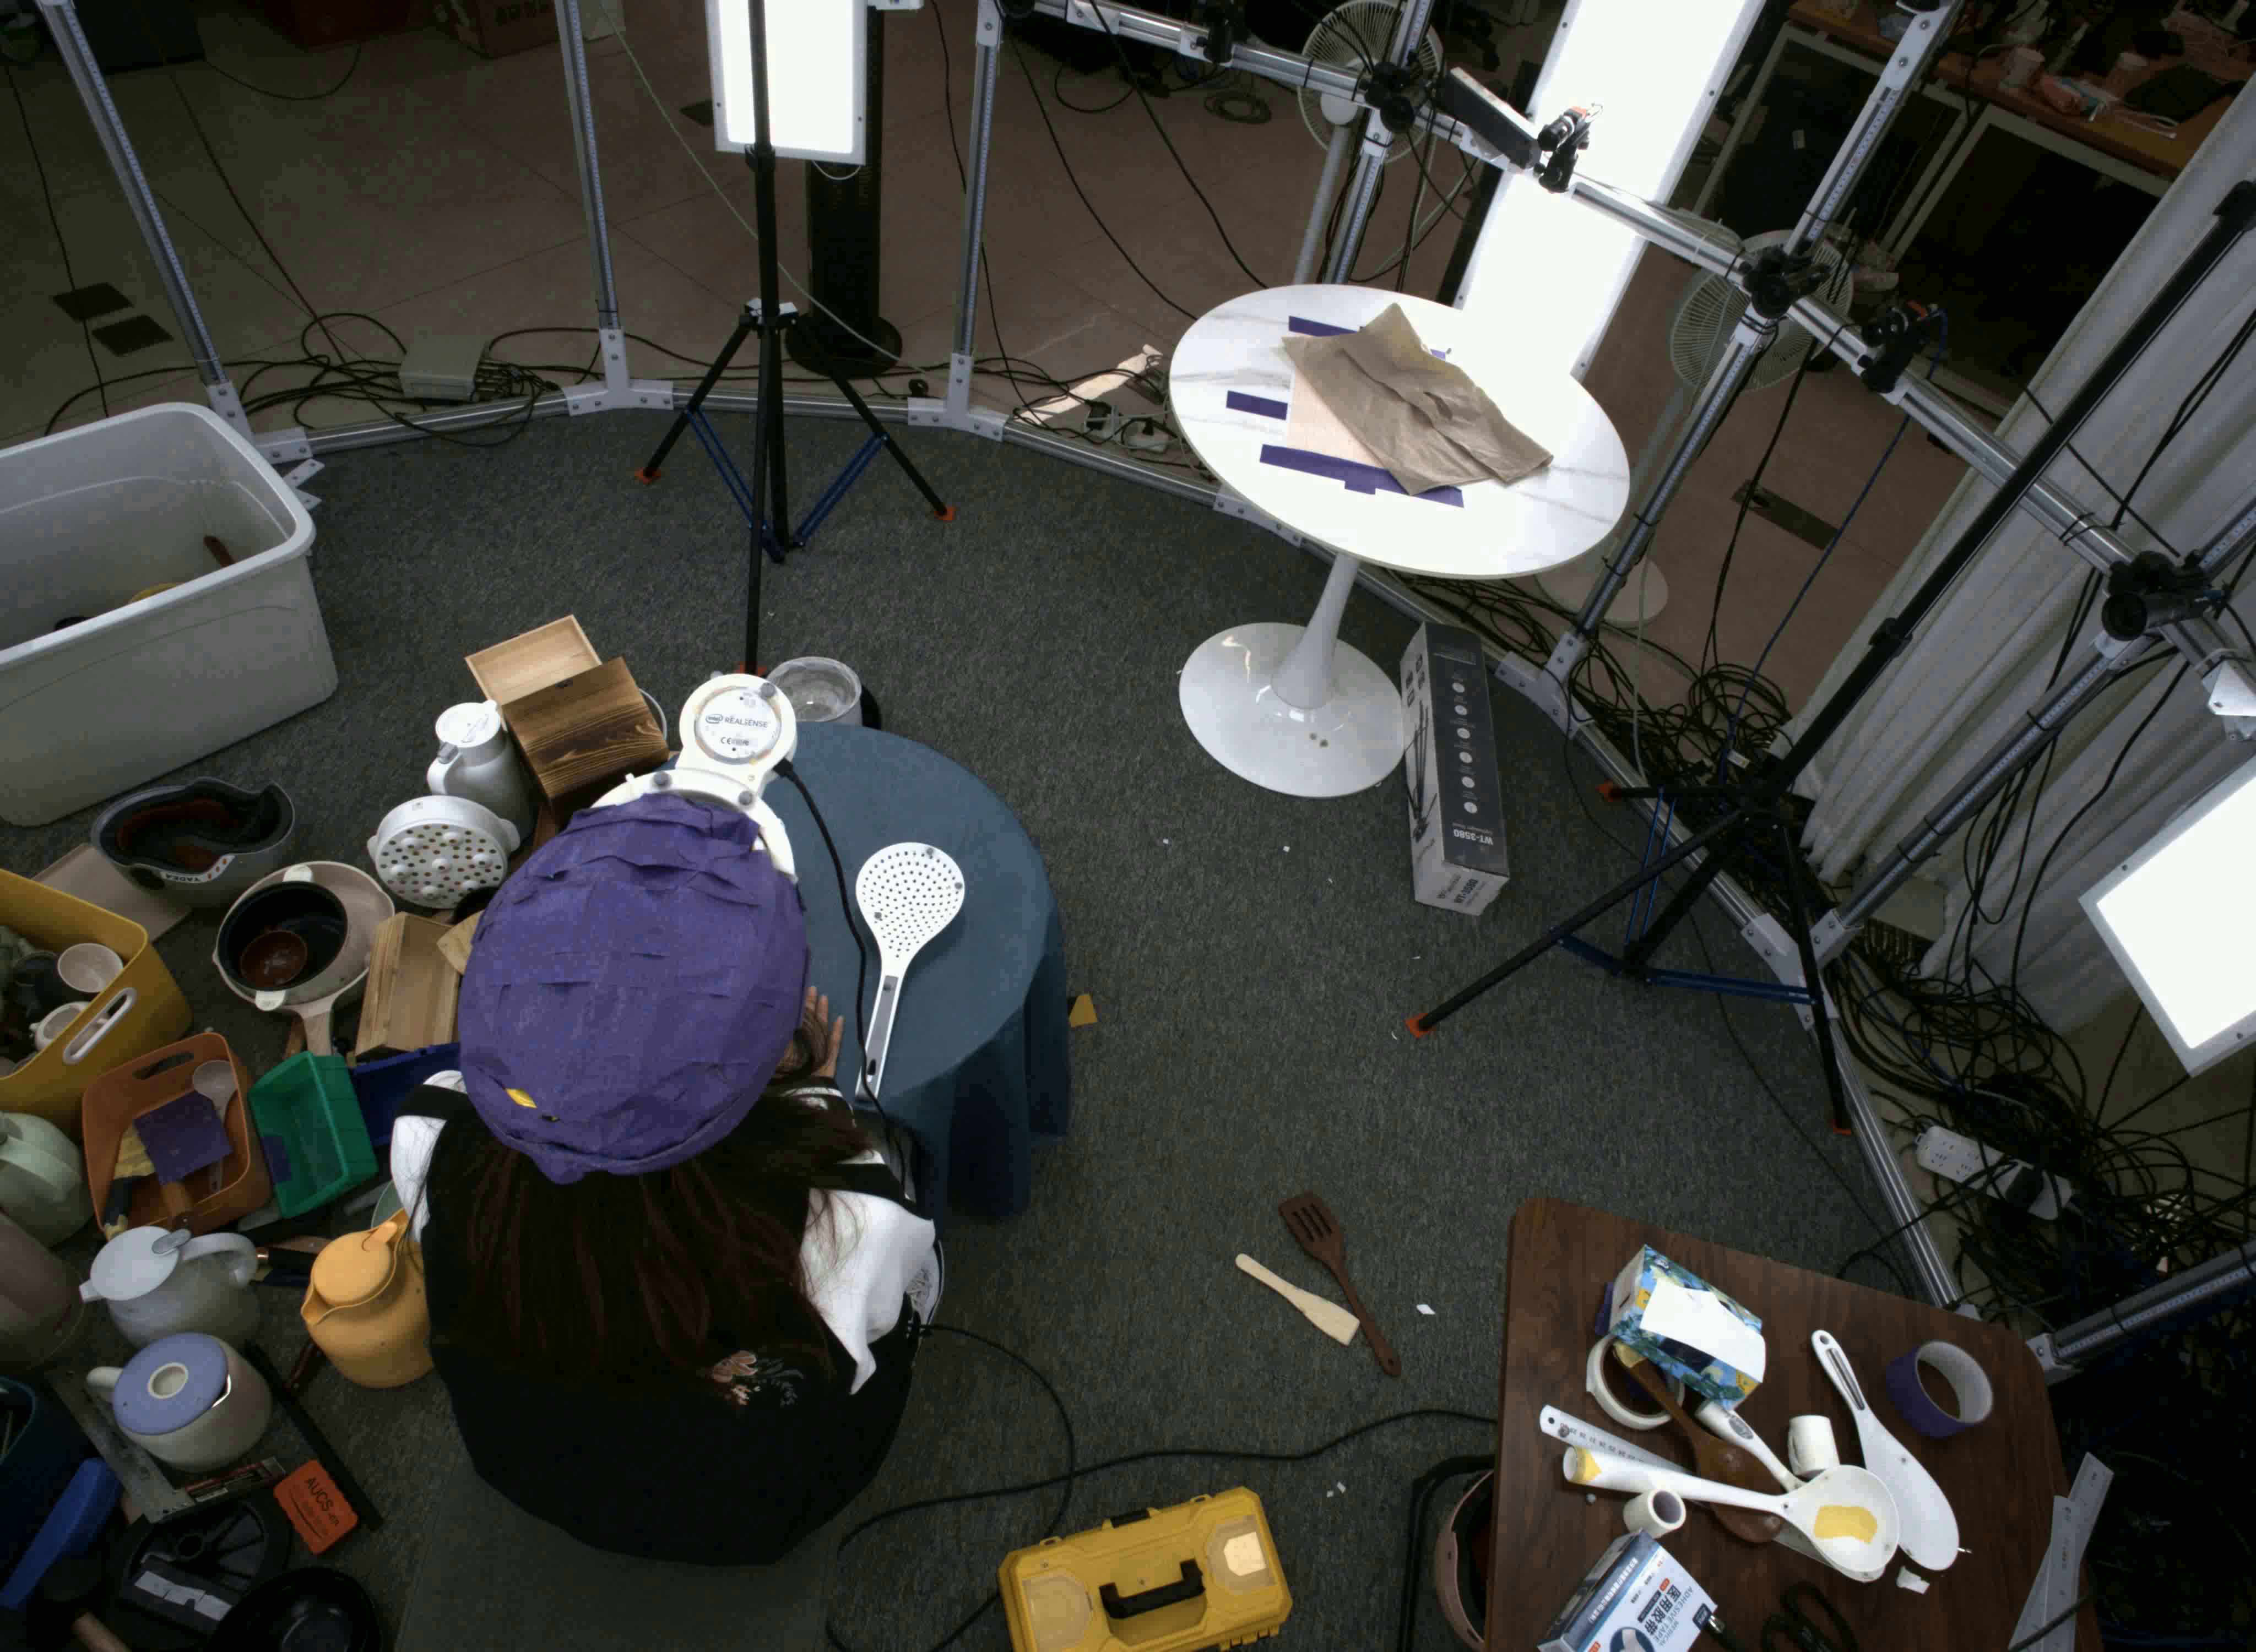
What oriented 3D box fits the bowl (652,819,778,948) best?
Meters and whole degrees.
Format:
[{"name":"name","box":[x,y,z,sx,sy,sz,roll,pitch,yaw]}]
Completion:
[{"name":"bowl","box":[-0.501,0.080,1.574,0.148,0.106,0.145,9,52,-10]}]

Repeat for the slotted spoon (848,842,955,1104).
[{"name":"slotted spoon","box":[-0.297,0.171,1.595,0.135,0.047,0.344,9,53,-6]}]
